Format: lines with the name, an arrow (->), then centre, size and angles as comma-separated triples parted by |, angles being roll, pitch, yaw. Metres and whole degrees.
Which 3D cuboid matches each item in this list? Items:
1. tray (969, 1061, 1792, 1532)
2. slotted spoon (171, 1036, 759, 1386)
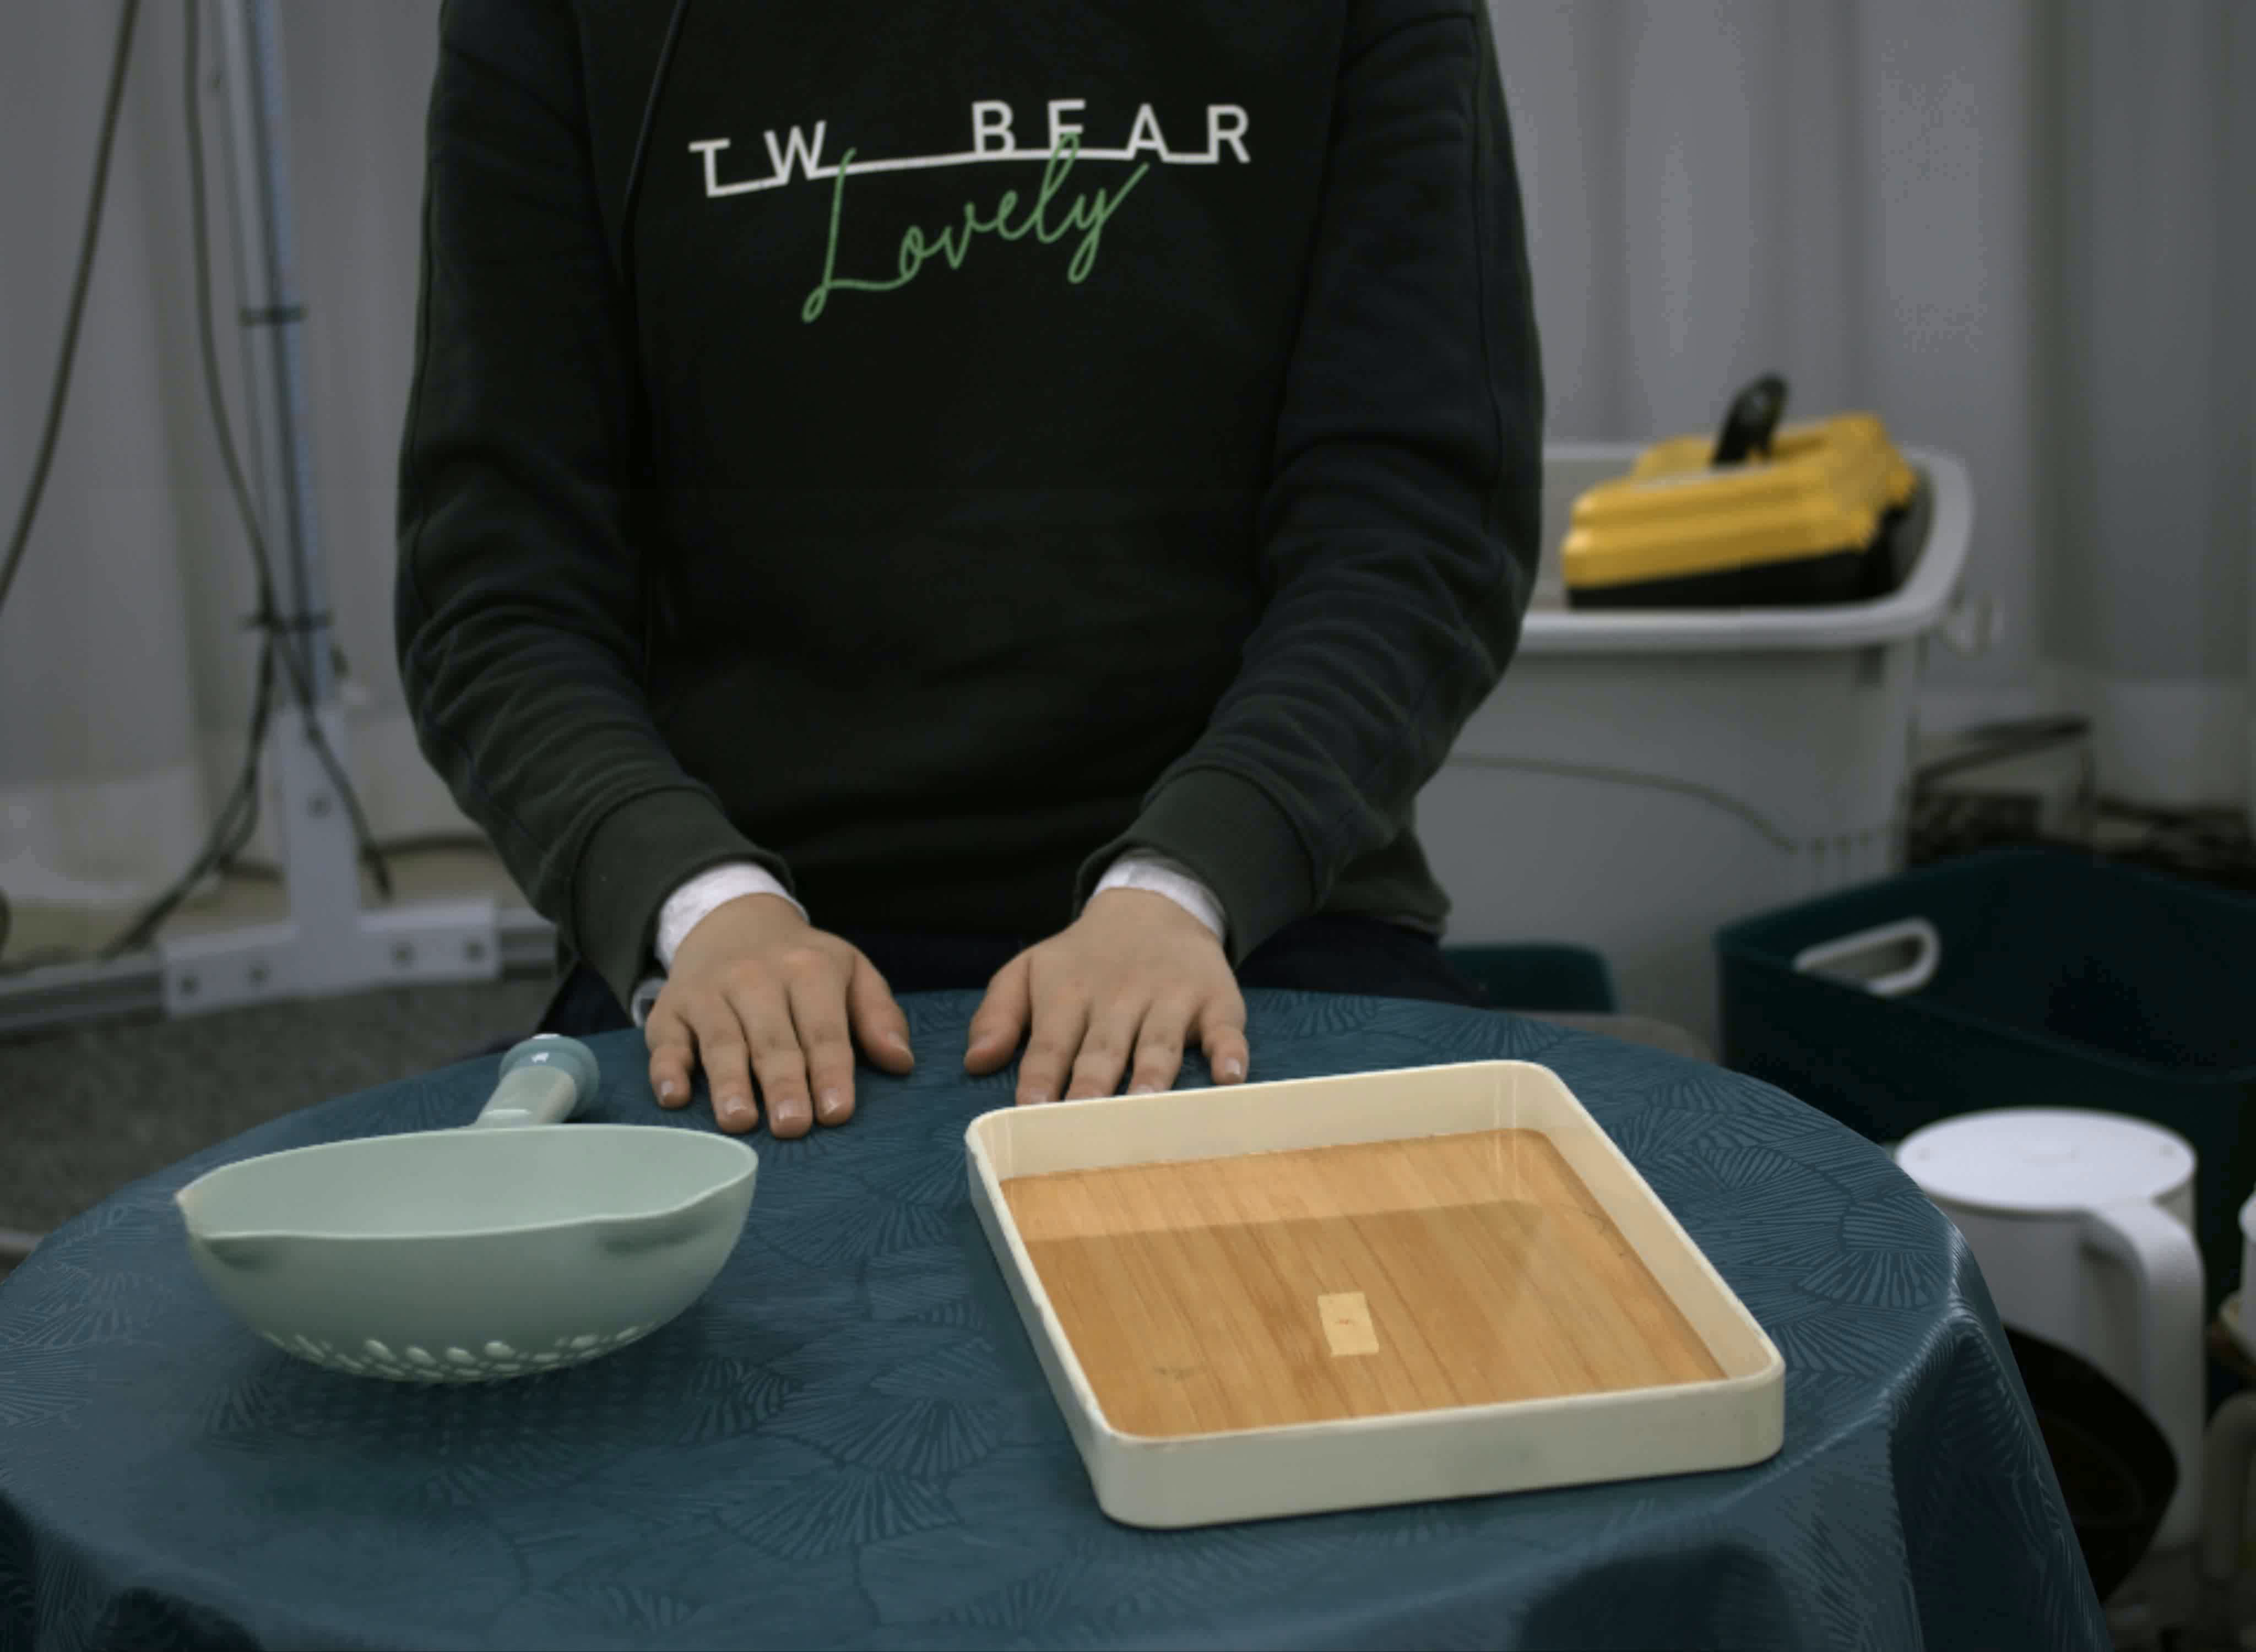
tray -> 0.065, 0.131, 1.589 | 0.191, 0.027, 0.302 | -5, 15, -8
slotted spoon -> -0.190, 0.102, 1.675 | 0.169, 0.075, 0.361 | -2, 15, 0
